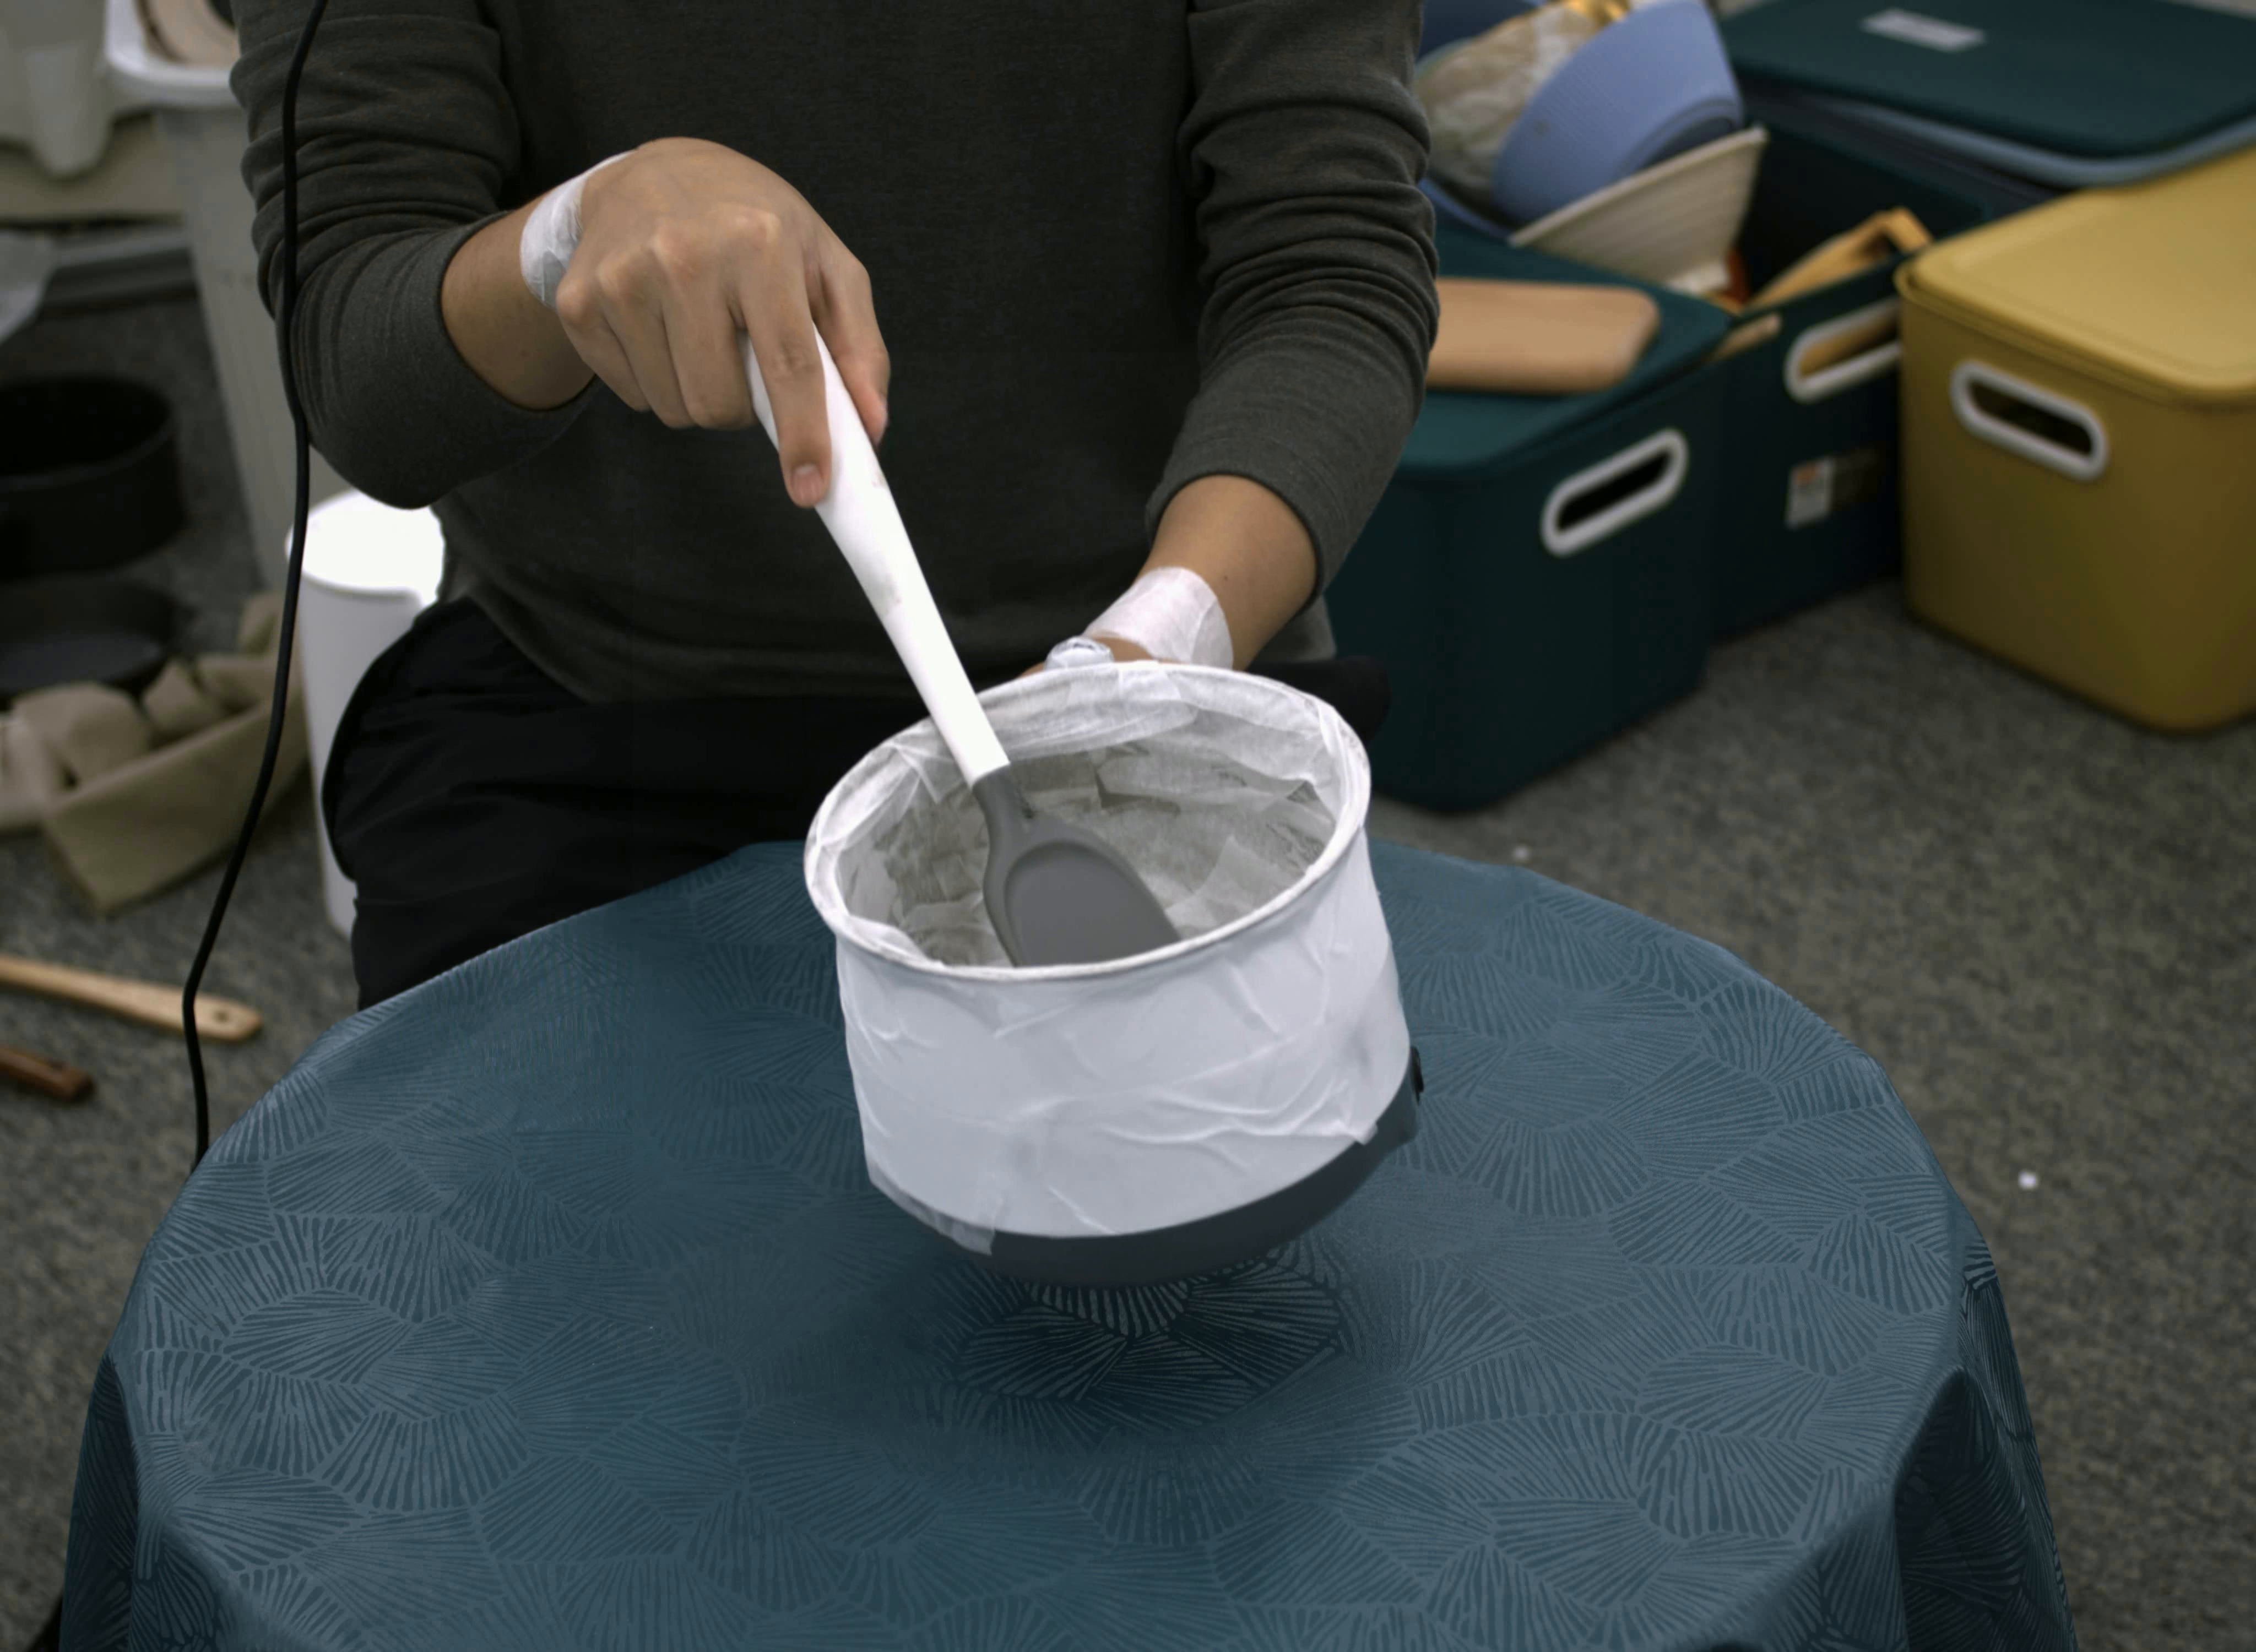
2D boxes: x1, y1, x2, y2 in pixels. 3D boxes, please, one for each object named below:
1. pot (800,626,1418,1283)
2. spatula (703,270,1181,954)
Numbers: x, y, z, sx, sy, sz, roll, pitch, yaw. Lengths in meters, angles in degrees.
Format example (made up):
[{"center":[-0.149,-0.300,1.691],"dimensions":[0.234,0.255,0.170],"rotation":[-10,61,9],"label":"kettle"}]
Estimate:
[{"center":[-0.005,0.032,1.777],"dimensions":[0.178,0.135,0.237],"rotation":[-9,31,1],"label":"pot"},{"center":[-0.060,-0.053,1.779],"dimensions":[0.059,0.032,0.290],"rotation":[-20,68,-20],"label":"spatula"}]
